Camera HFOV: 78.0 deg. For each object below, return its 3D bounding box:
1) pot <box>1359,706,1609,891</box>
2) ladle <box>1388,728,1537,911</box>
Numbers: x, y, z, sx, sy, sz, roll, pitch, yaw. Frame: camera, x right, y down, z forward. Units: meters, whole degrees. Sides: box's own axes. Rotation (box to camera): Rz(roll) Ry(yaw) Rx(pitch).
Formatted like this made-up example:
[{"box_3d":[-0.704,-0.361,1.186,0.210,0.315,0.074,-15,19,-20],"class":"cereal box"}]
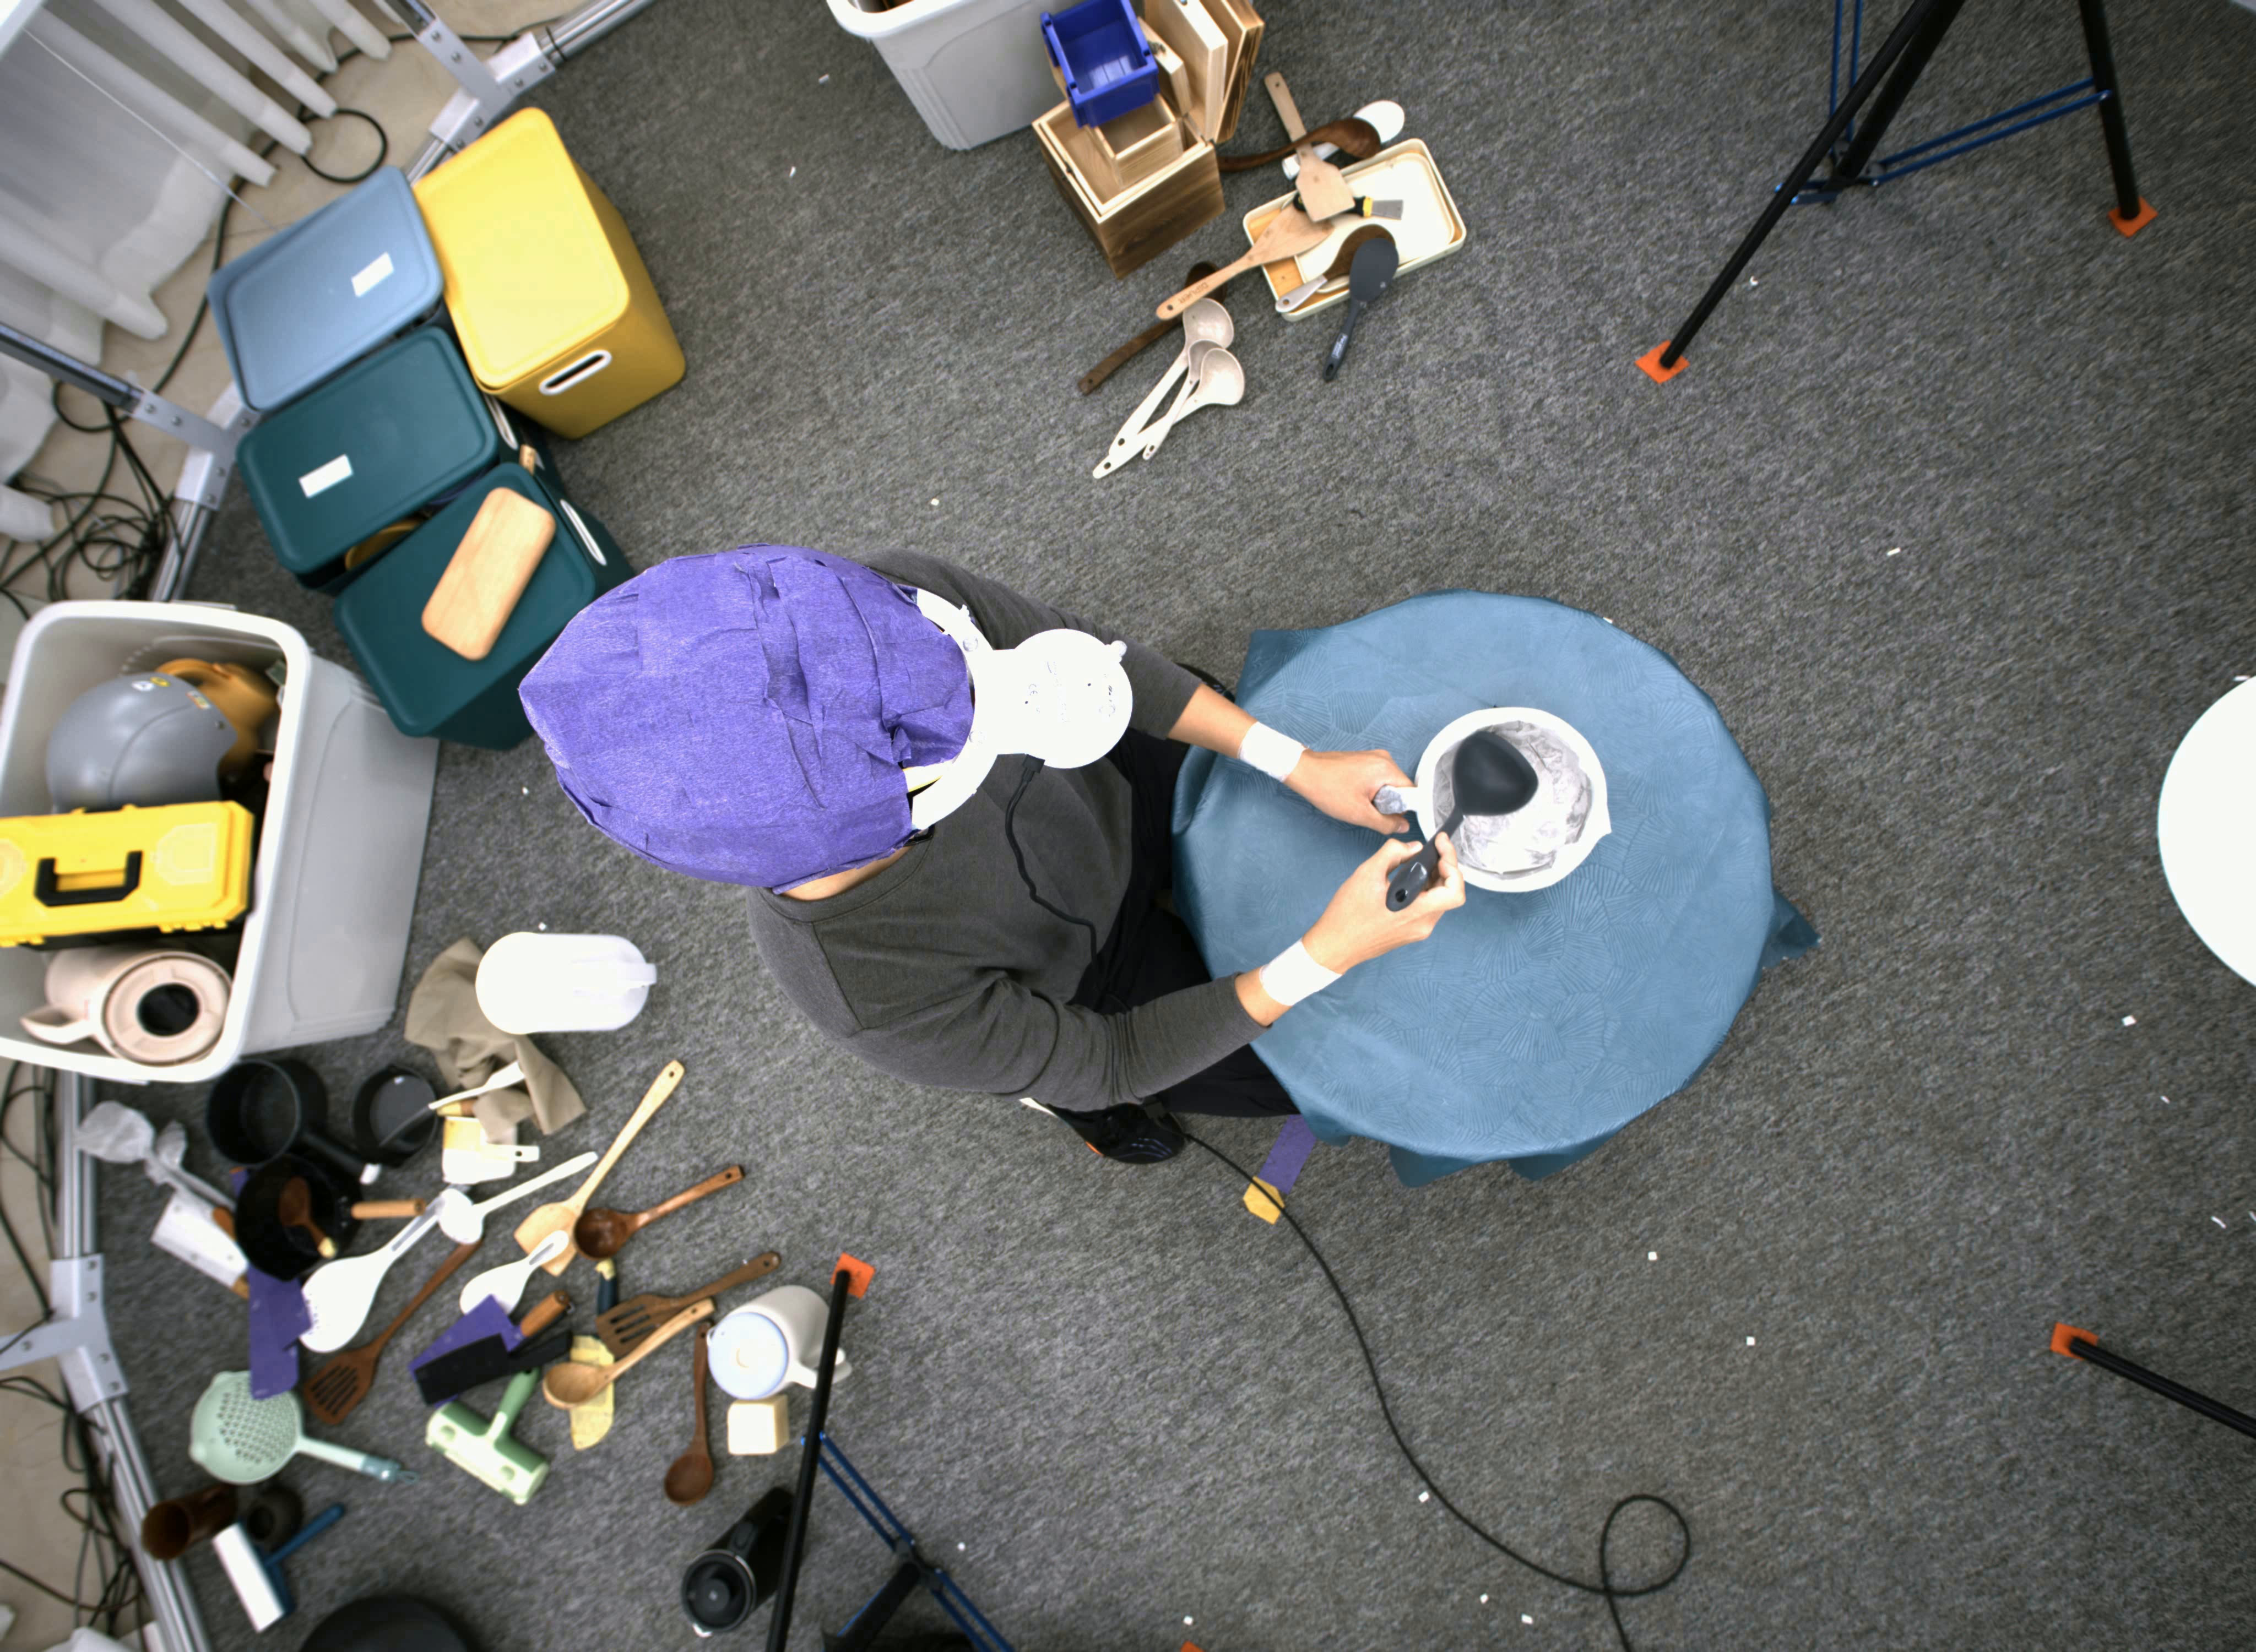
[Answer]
[{"box_3d":[0.349,-0.032,1.372,0.234,0.135,0.179,-2,96,10],"class":"pot"},{"box_3d":[0.295,-0.007,1.228,0.086,0.307,0.065,40,124,8],"class":"ladle"}]
